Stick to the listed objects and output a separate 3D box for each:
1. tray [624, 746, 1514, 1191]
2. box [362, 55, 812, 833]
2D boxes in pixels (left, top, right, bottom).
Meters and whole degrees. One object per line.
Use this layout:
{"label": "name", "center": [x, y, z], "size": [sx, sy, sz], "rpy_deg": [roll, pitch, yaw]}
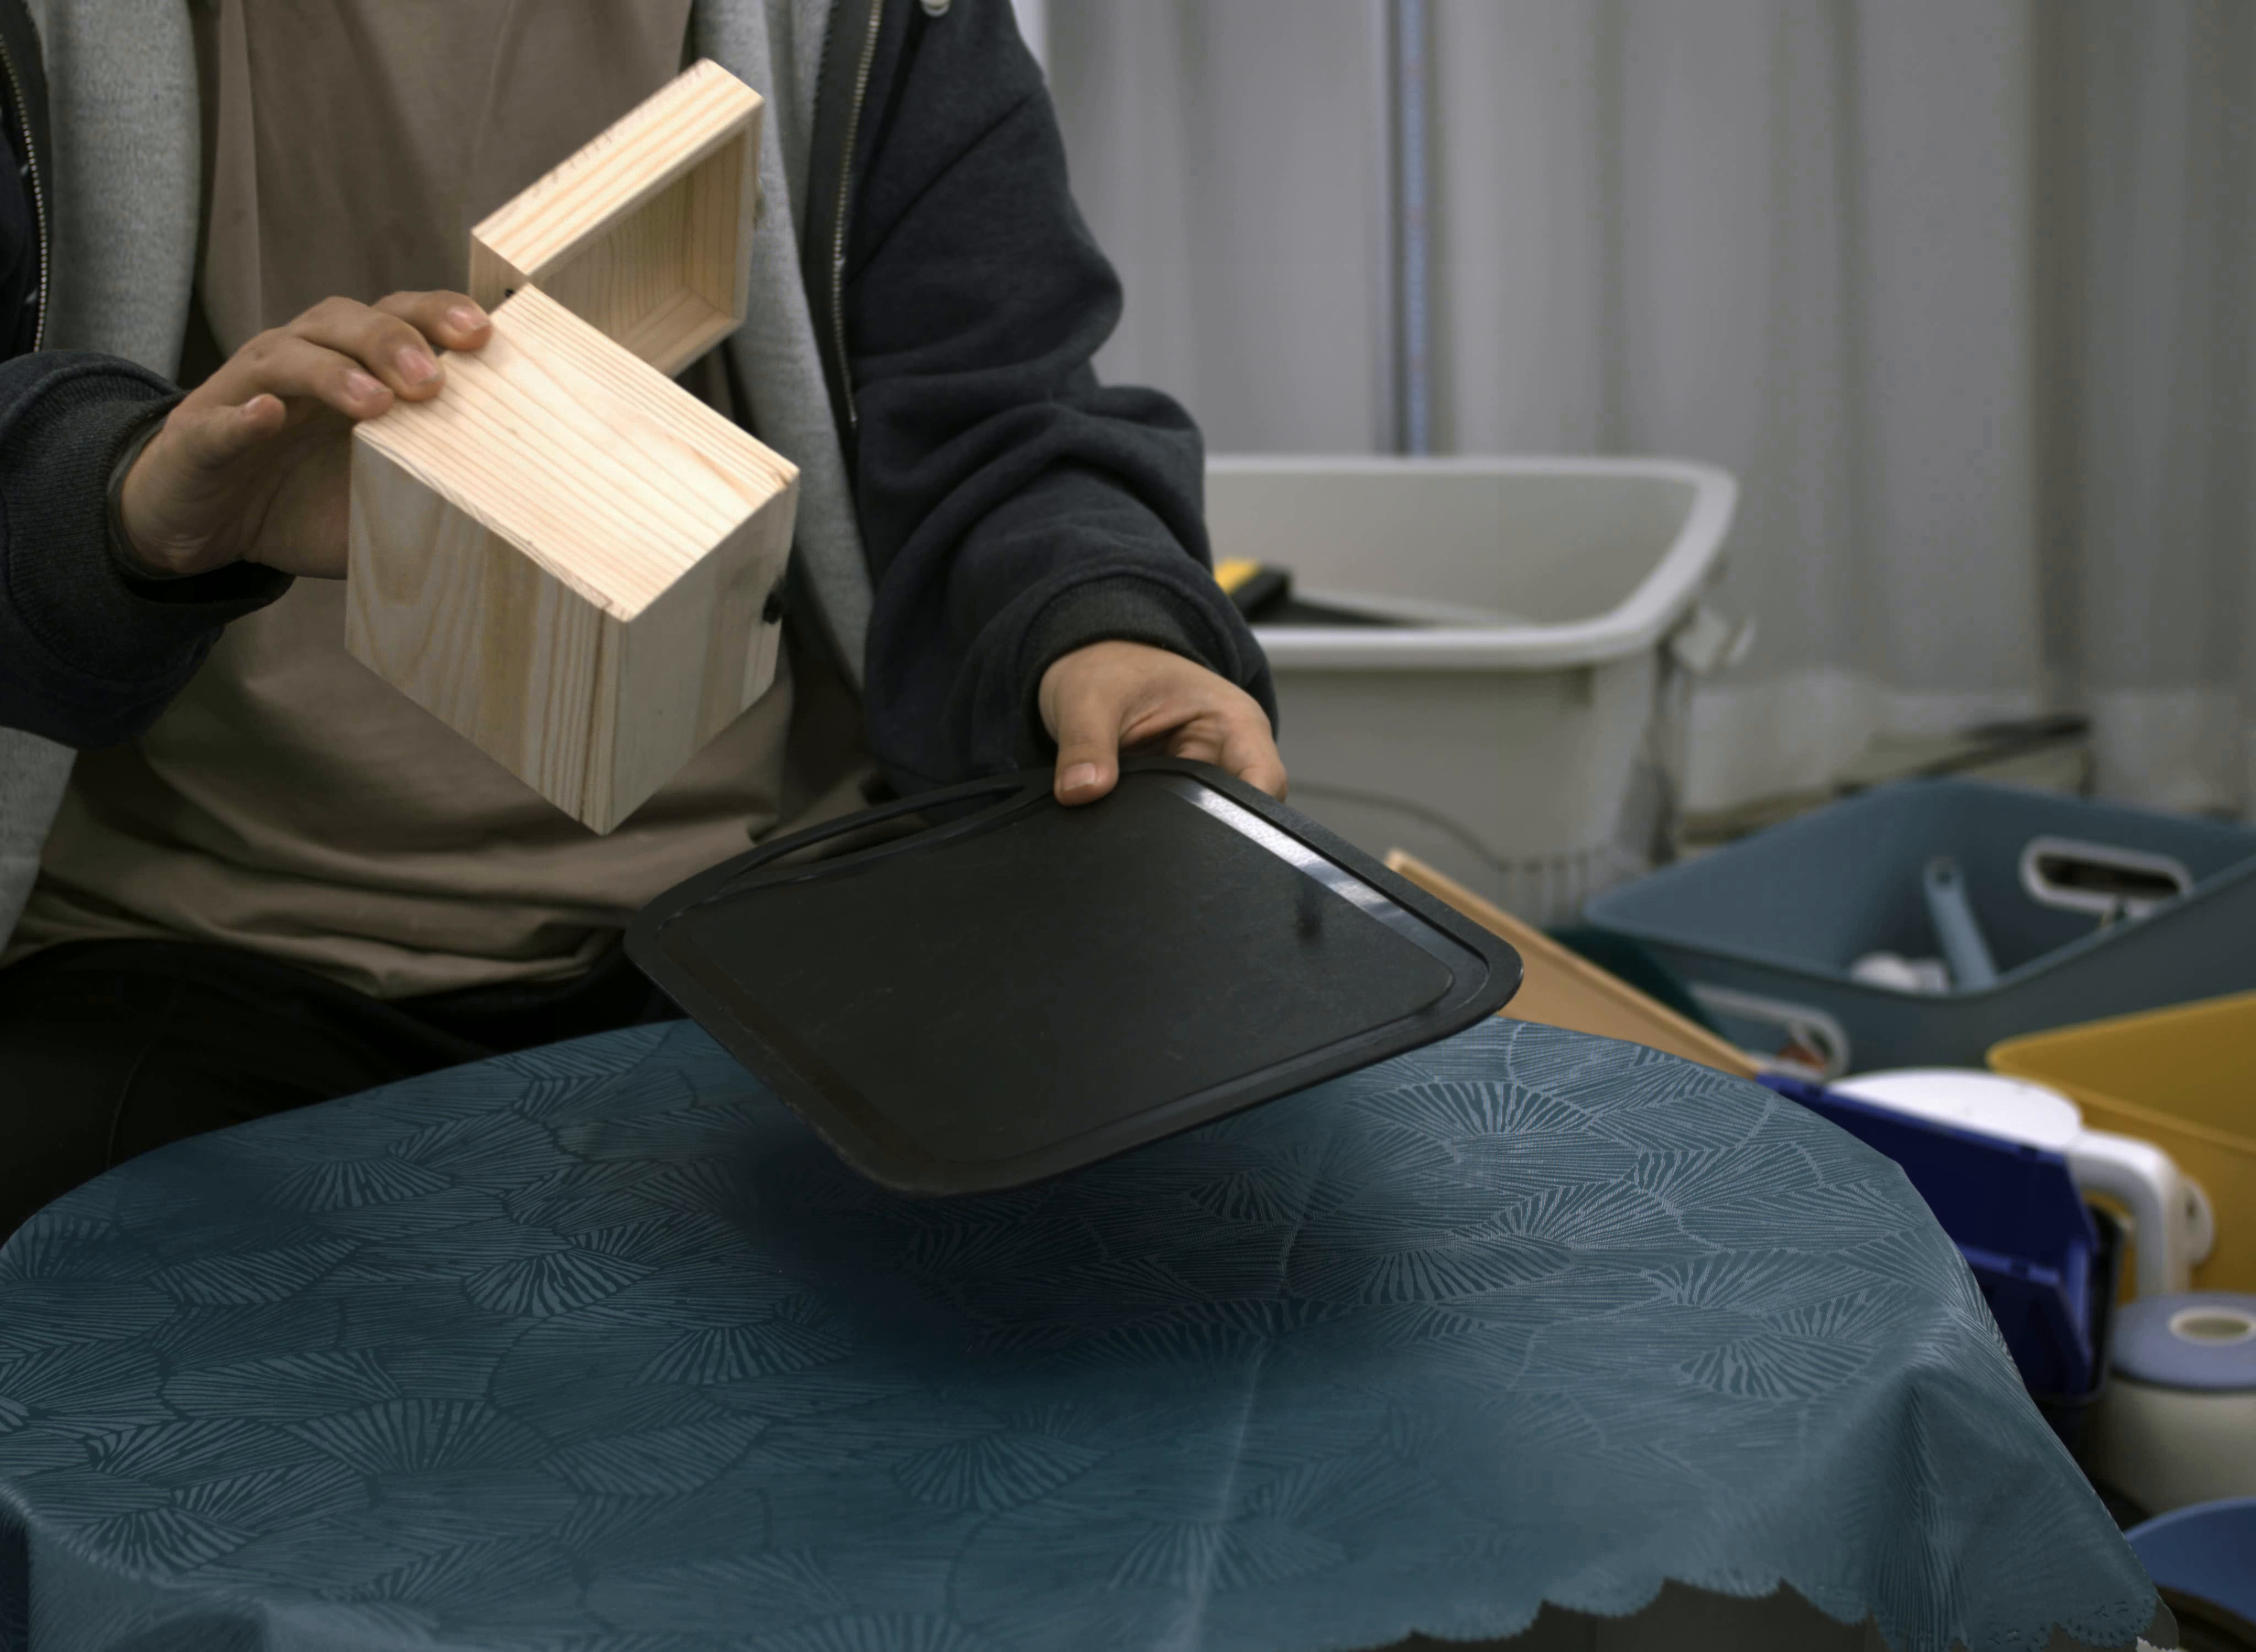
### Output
{"label": "tray", "center": [-0.029, 0.035, 1.693], "size": [0.210, 0.010, 0.328], "rpy_deg": [-18, 22, -17]}
{"label": "box", "center": [-0.133, -0.114, 1.607], "size": [0.134, 0.101, 0.185], "rpy_deg": [34, 56, 16]}
